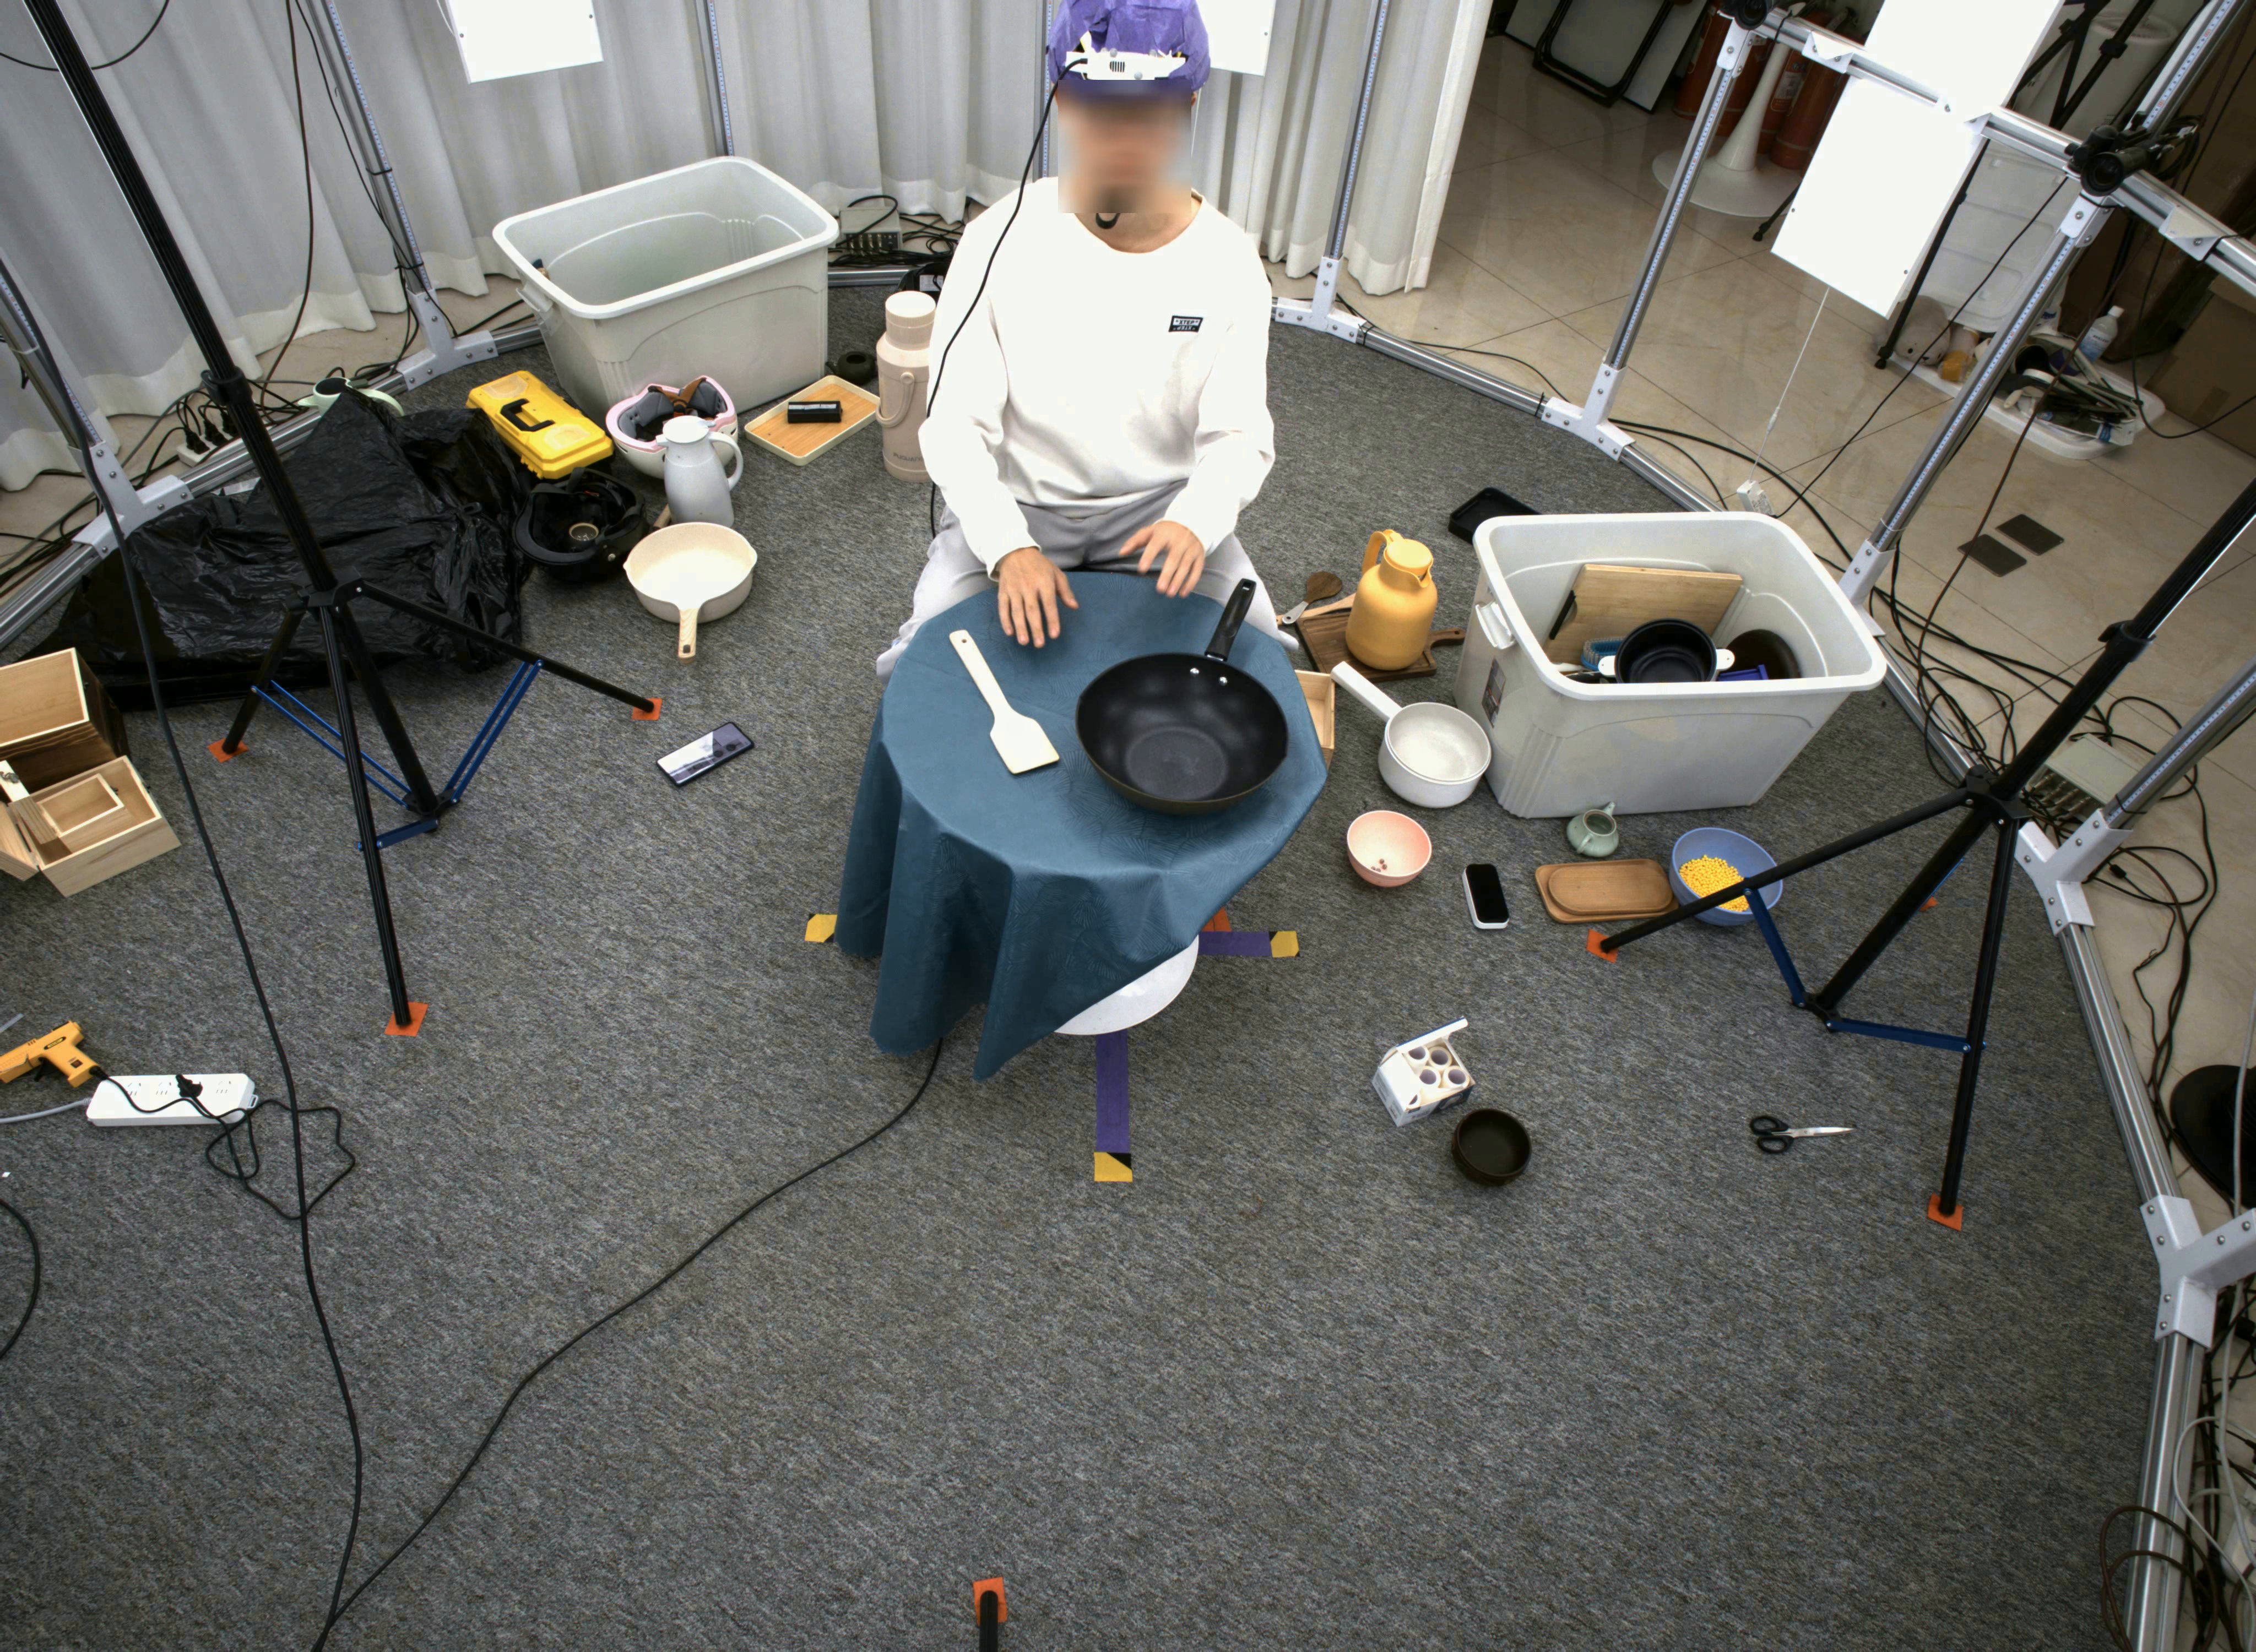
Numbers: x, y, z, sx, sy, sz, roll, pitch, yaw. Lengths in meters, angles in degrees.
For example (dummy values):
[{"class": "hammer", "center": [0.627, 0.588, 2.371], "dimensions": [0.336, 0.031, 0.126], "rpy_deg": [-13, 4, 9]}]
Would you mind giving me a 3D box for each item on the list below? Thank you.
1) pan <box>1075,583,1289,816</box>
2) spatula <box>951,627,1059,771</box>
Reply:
[{"class": "pan", "center": [0.099, -0.174, 1.770], "dimensions": [0.289, 0.085, 0.473], "rpy_deg": [18, 49, 10]}, {"class": "spatula", "center": [-0.186, -0.184, 1.805], "dimensions": [0.072, 0.010, 0.299], "rpy_deg": [-19, 53, -18]}]
